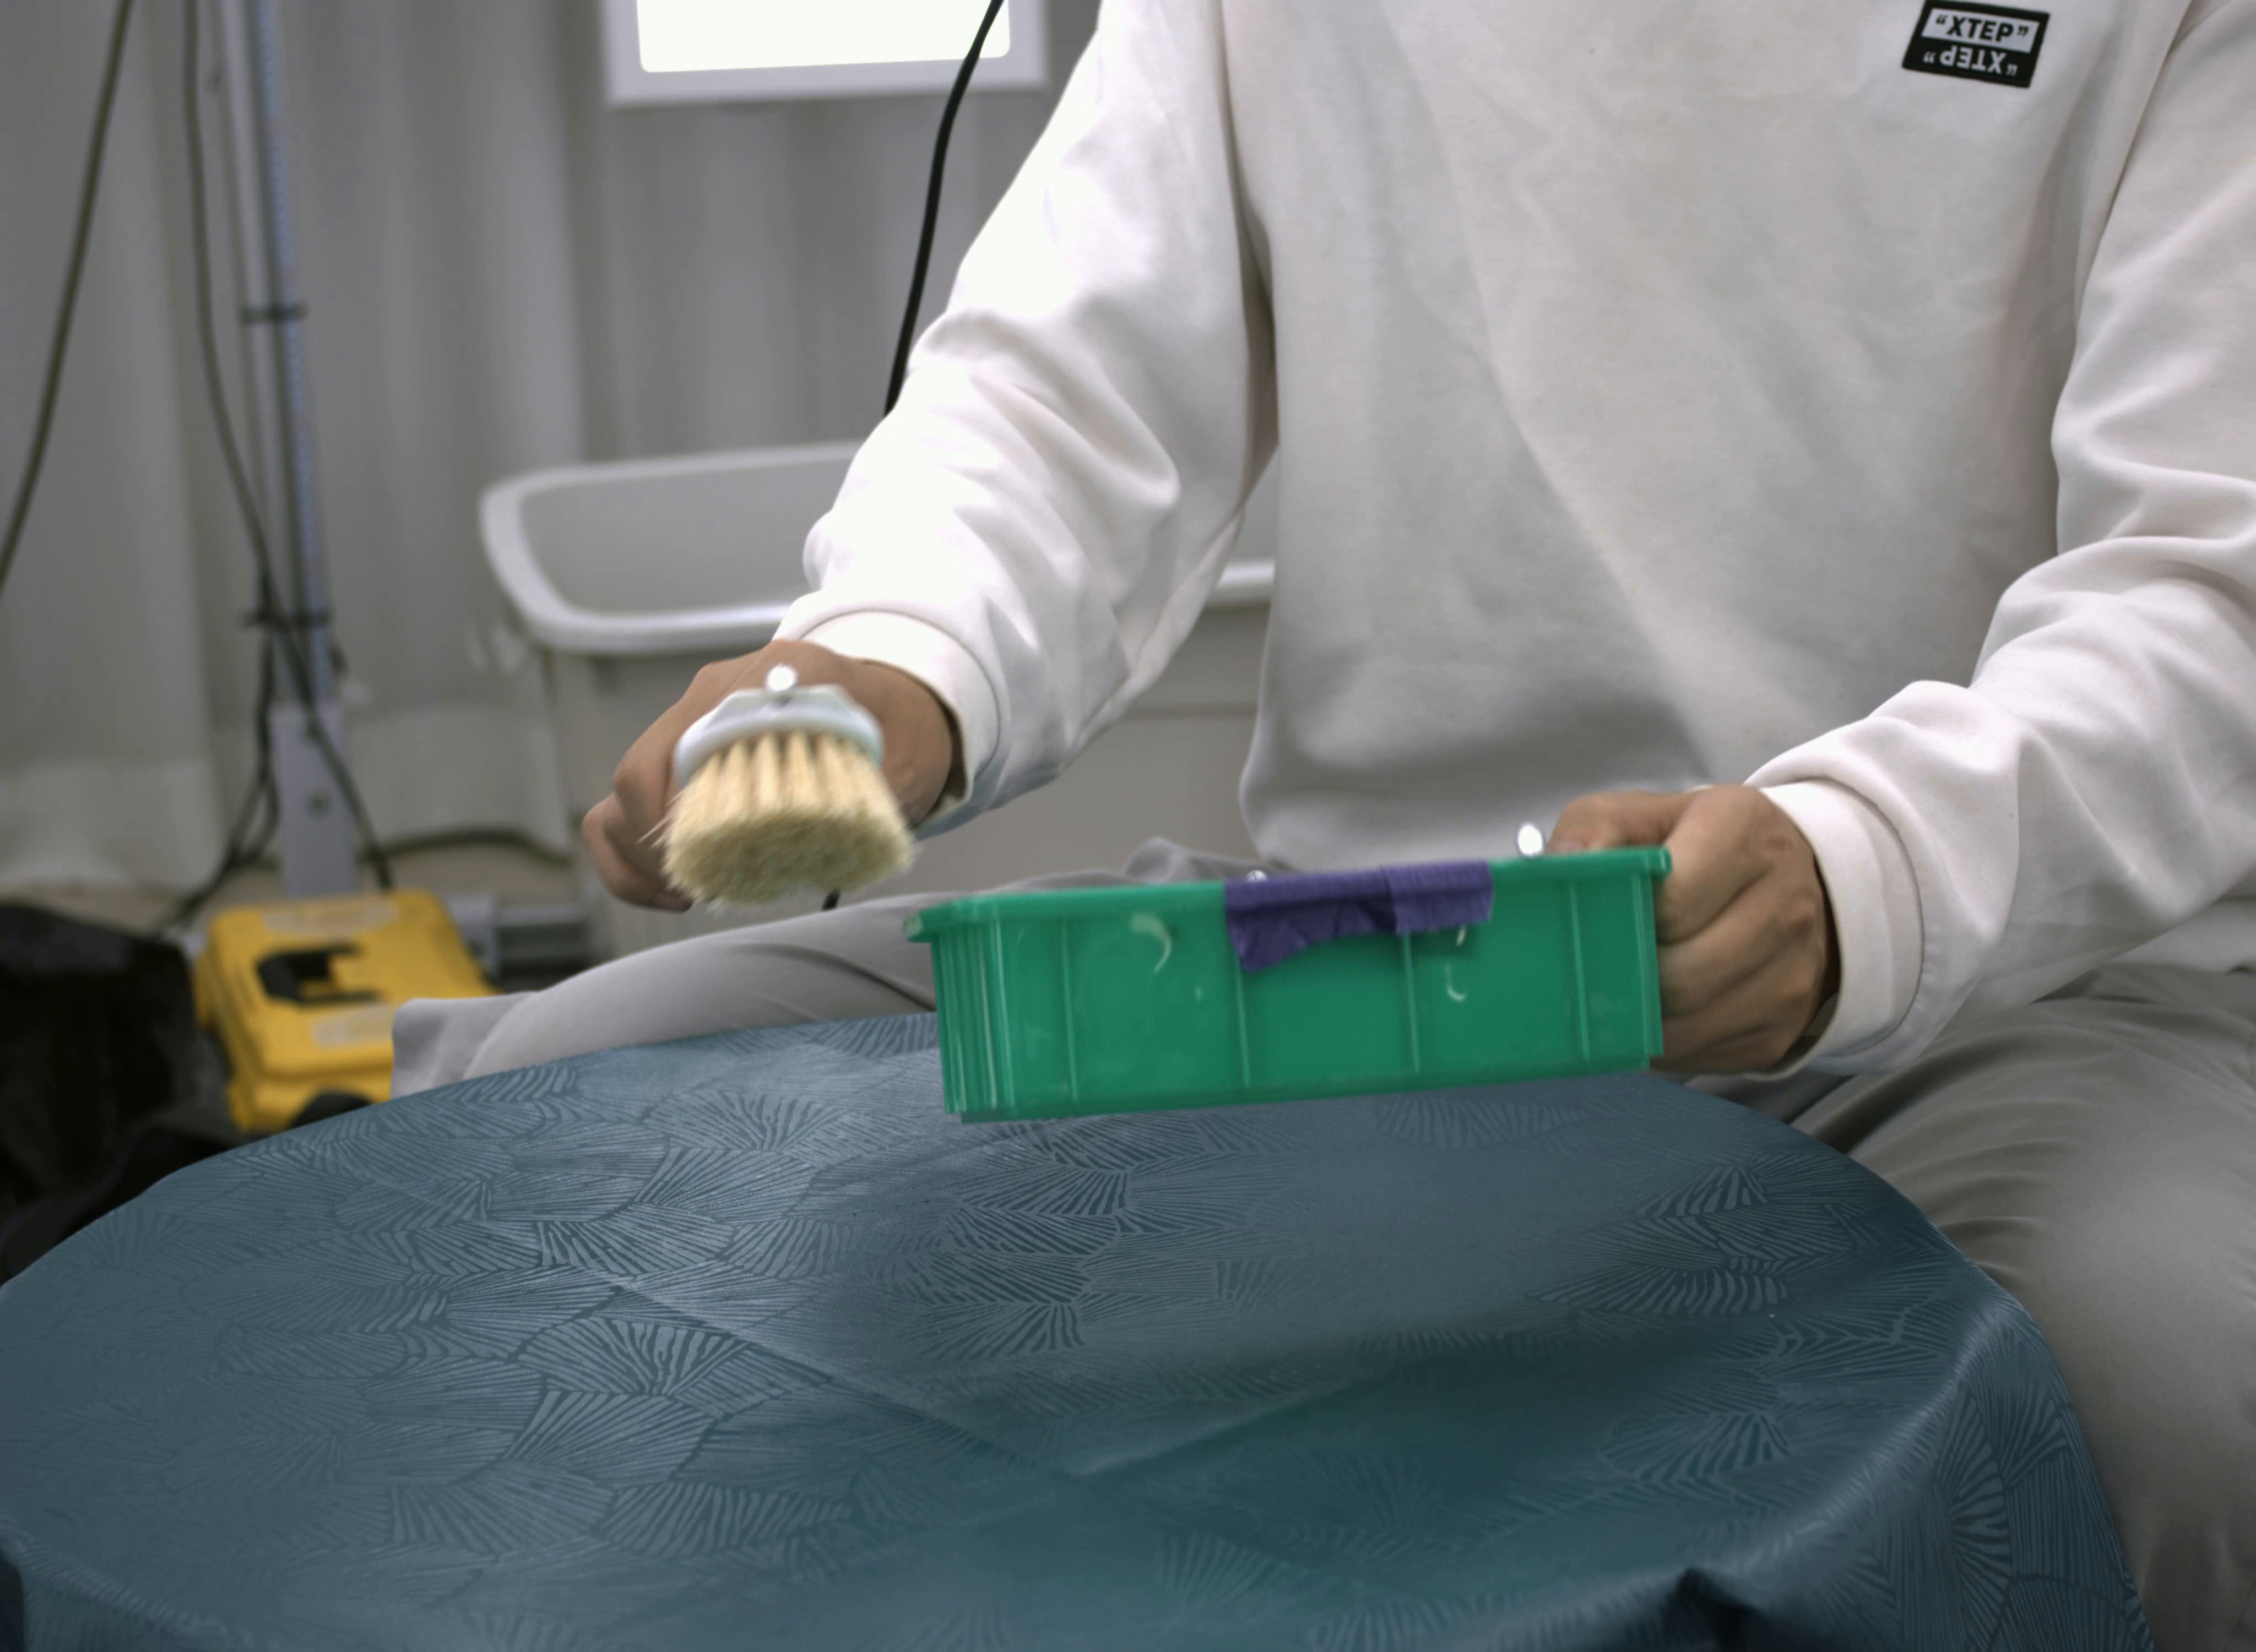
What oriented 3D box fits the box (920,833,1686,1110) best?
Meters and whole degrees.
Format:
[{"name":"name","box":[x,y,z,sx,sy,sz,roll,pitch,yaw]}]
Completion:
[{"name":"box","box":[0.049,0.043,1.543,0.209,0.065,0.138,-2,-4,-8]}]

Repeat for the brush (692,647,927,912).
[{"name":"brush","box":[-0.104,0.011,1.662,0.068,0.057,0.265,10,-17,-6]}]
